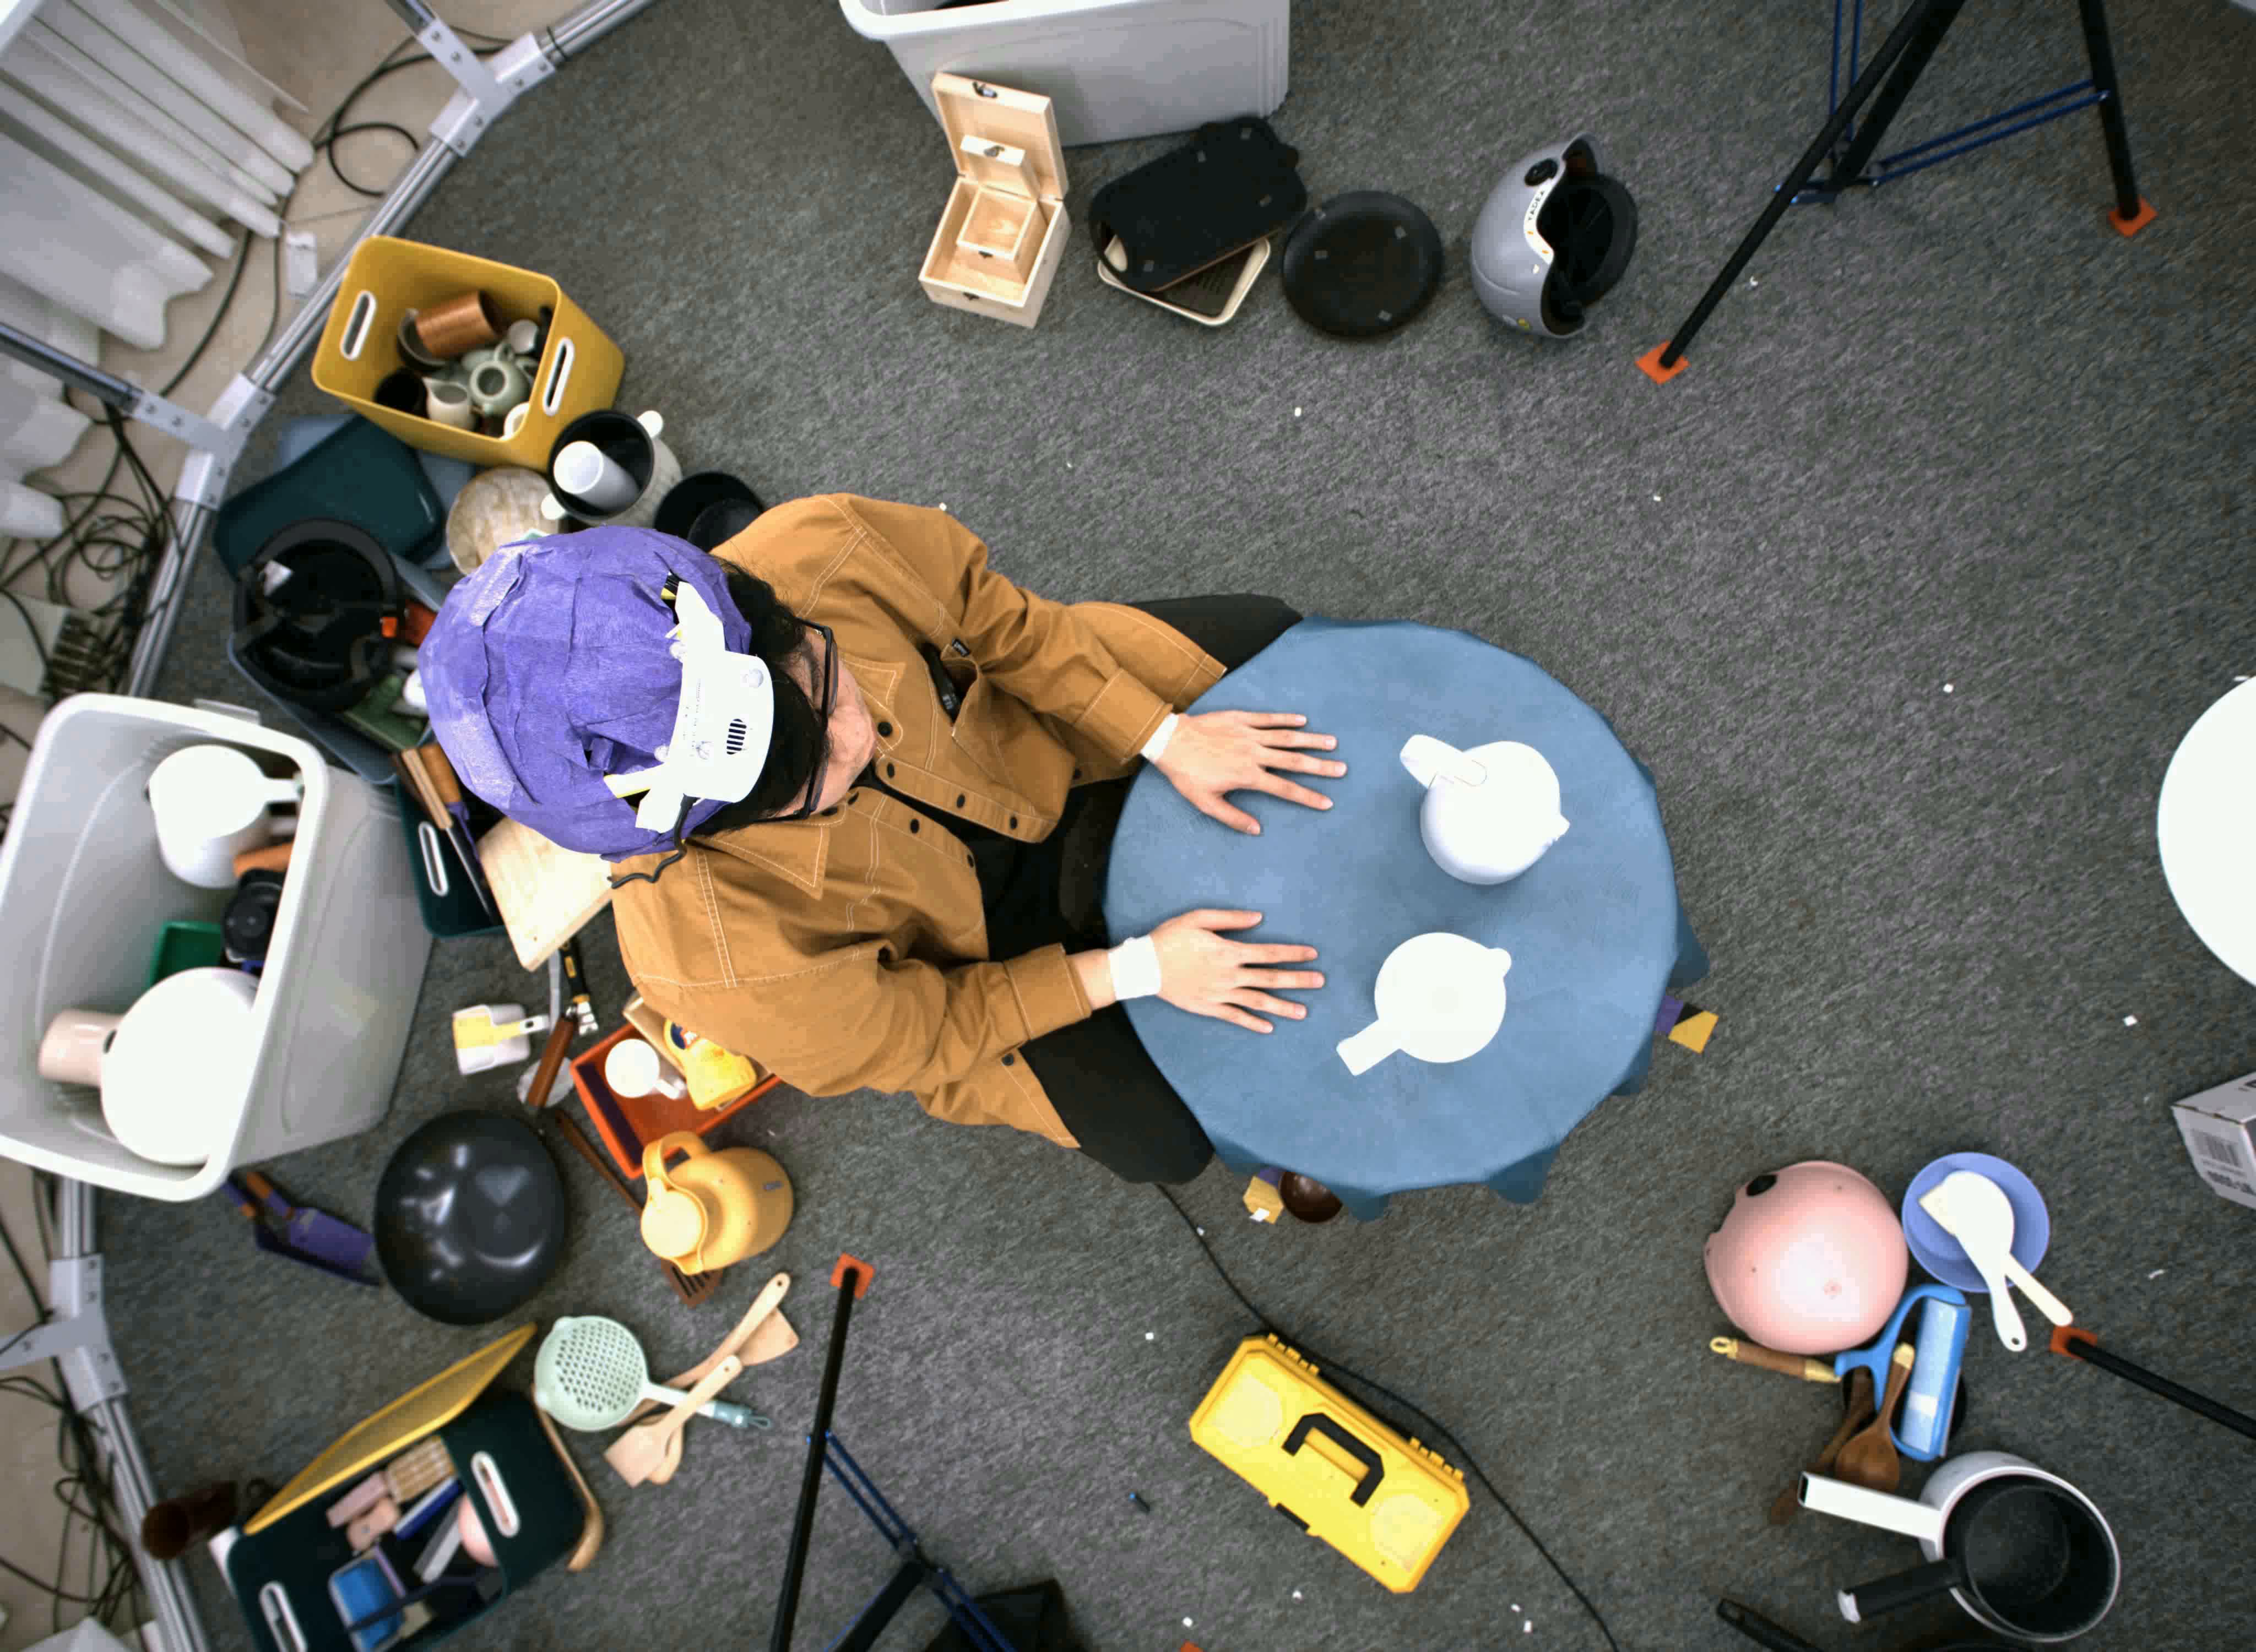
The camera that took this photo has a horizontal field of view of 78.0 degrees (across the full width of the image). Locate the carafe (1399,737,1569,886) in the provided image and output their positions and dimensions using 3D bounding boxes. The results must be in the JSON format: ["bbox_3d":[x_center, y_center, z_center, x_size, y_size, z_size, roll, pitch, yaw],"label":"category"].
[{"bbox_3d":[0.337,-0.027,1.327,0.167,0.249,0.133,33,91,12],"label":"carafe"}]

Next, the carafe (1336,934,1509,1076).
[{"bbox_3d":[0.280,0.173,1.319,0.174,0.269,0.123,-35,82,6],"label":"carafe"}]
